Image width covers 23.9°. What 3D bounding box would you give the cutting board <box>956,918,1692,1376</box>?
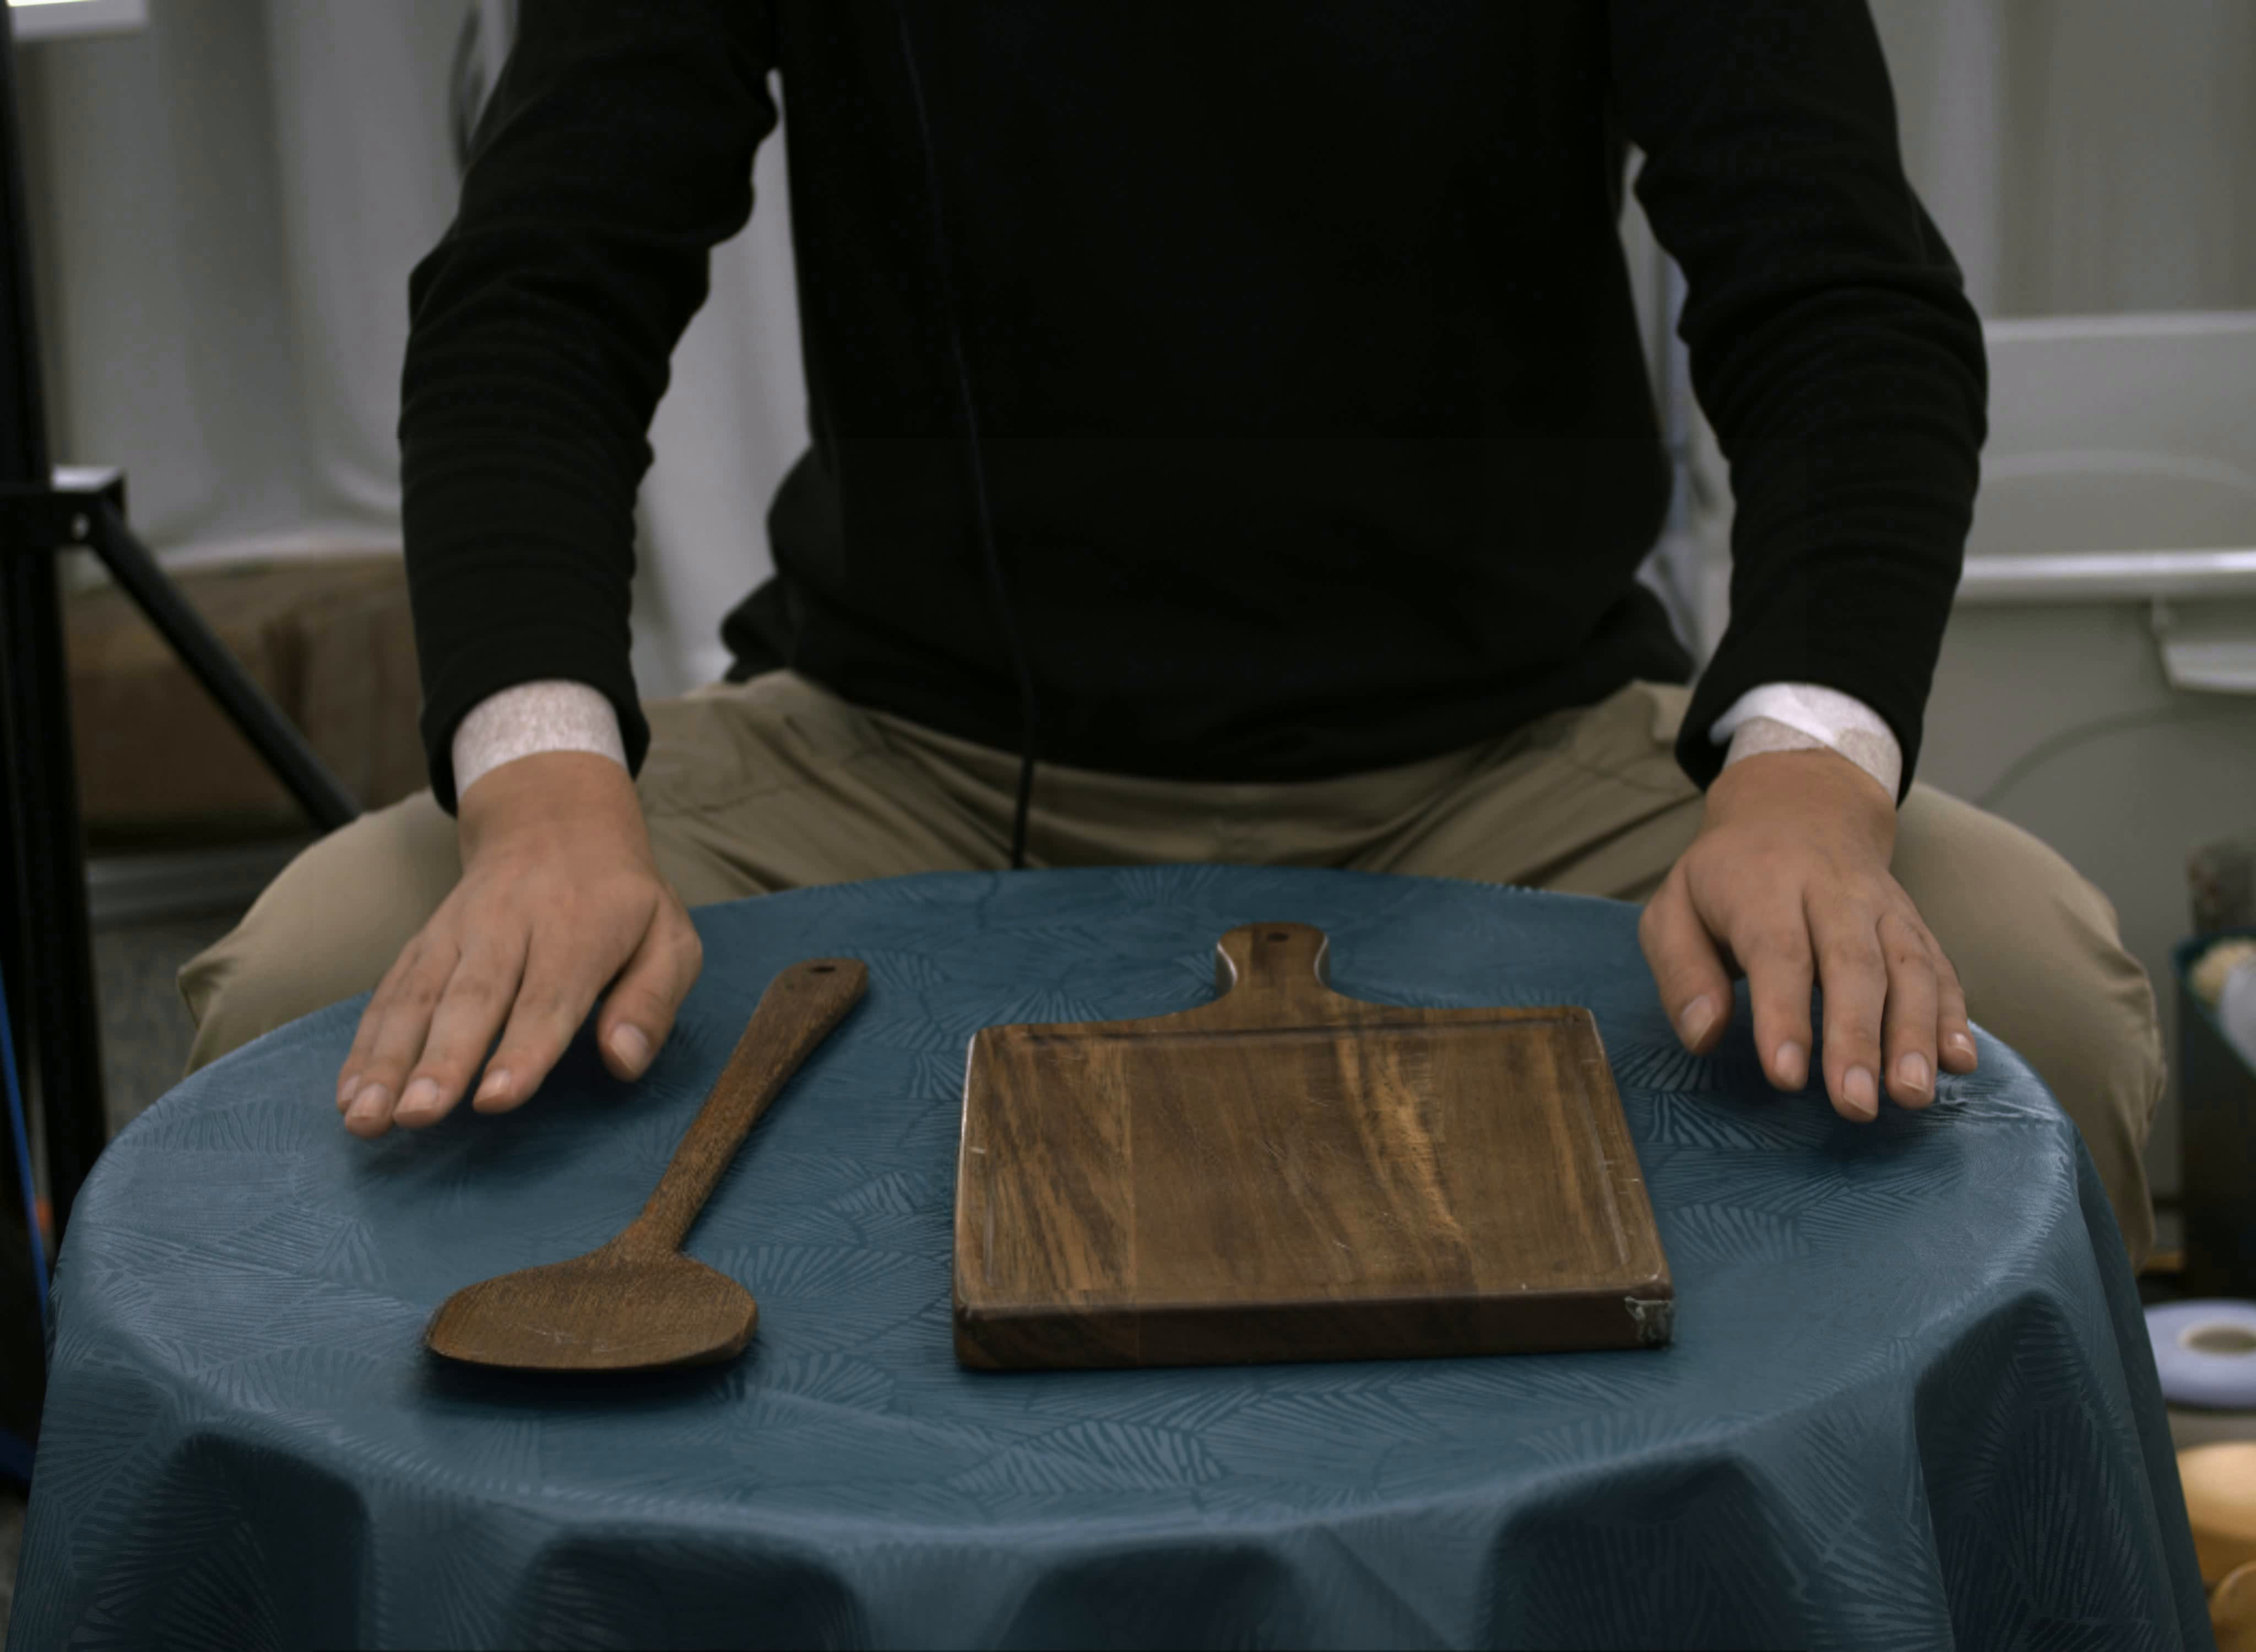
[{"bbox_3d":[0.049,0.088,1.583,0.200,0.023,0.353,-2,16,0],"label":"cutting board"}]

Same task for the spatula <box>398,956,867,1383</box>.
[{"bbox_3d":[-0.126,0.096,1.594,0.096,0.016,0.384,0,16,9],"label":"spatula"}]
